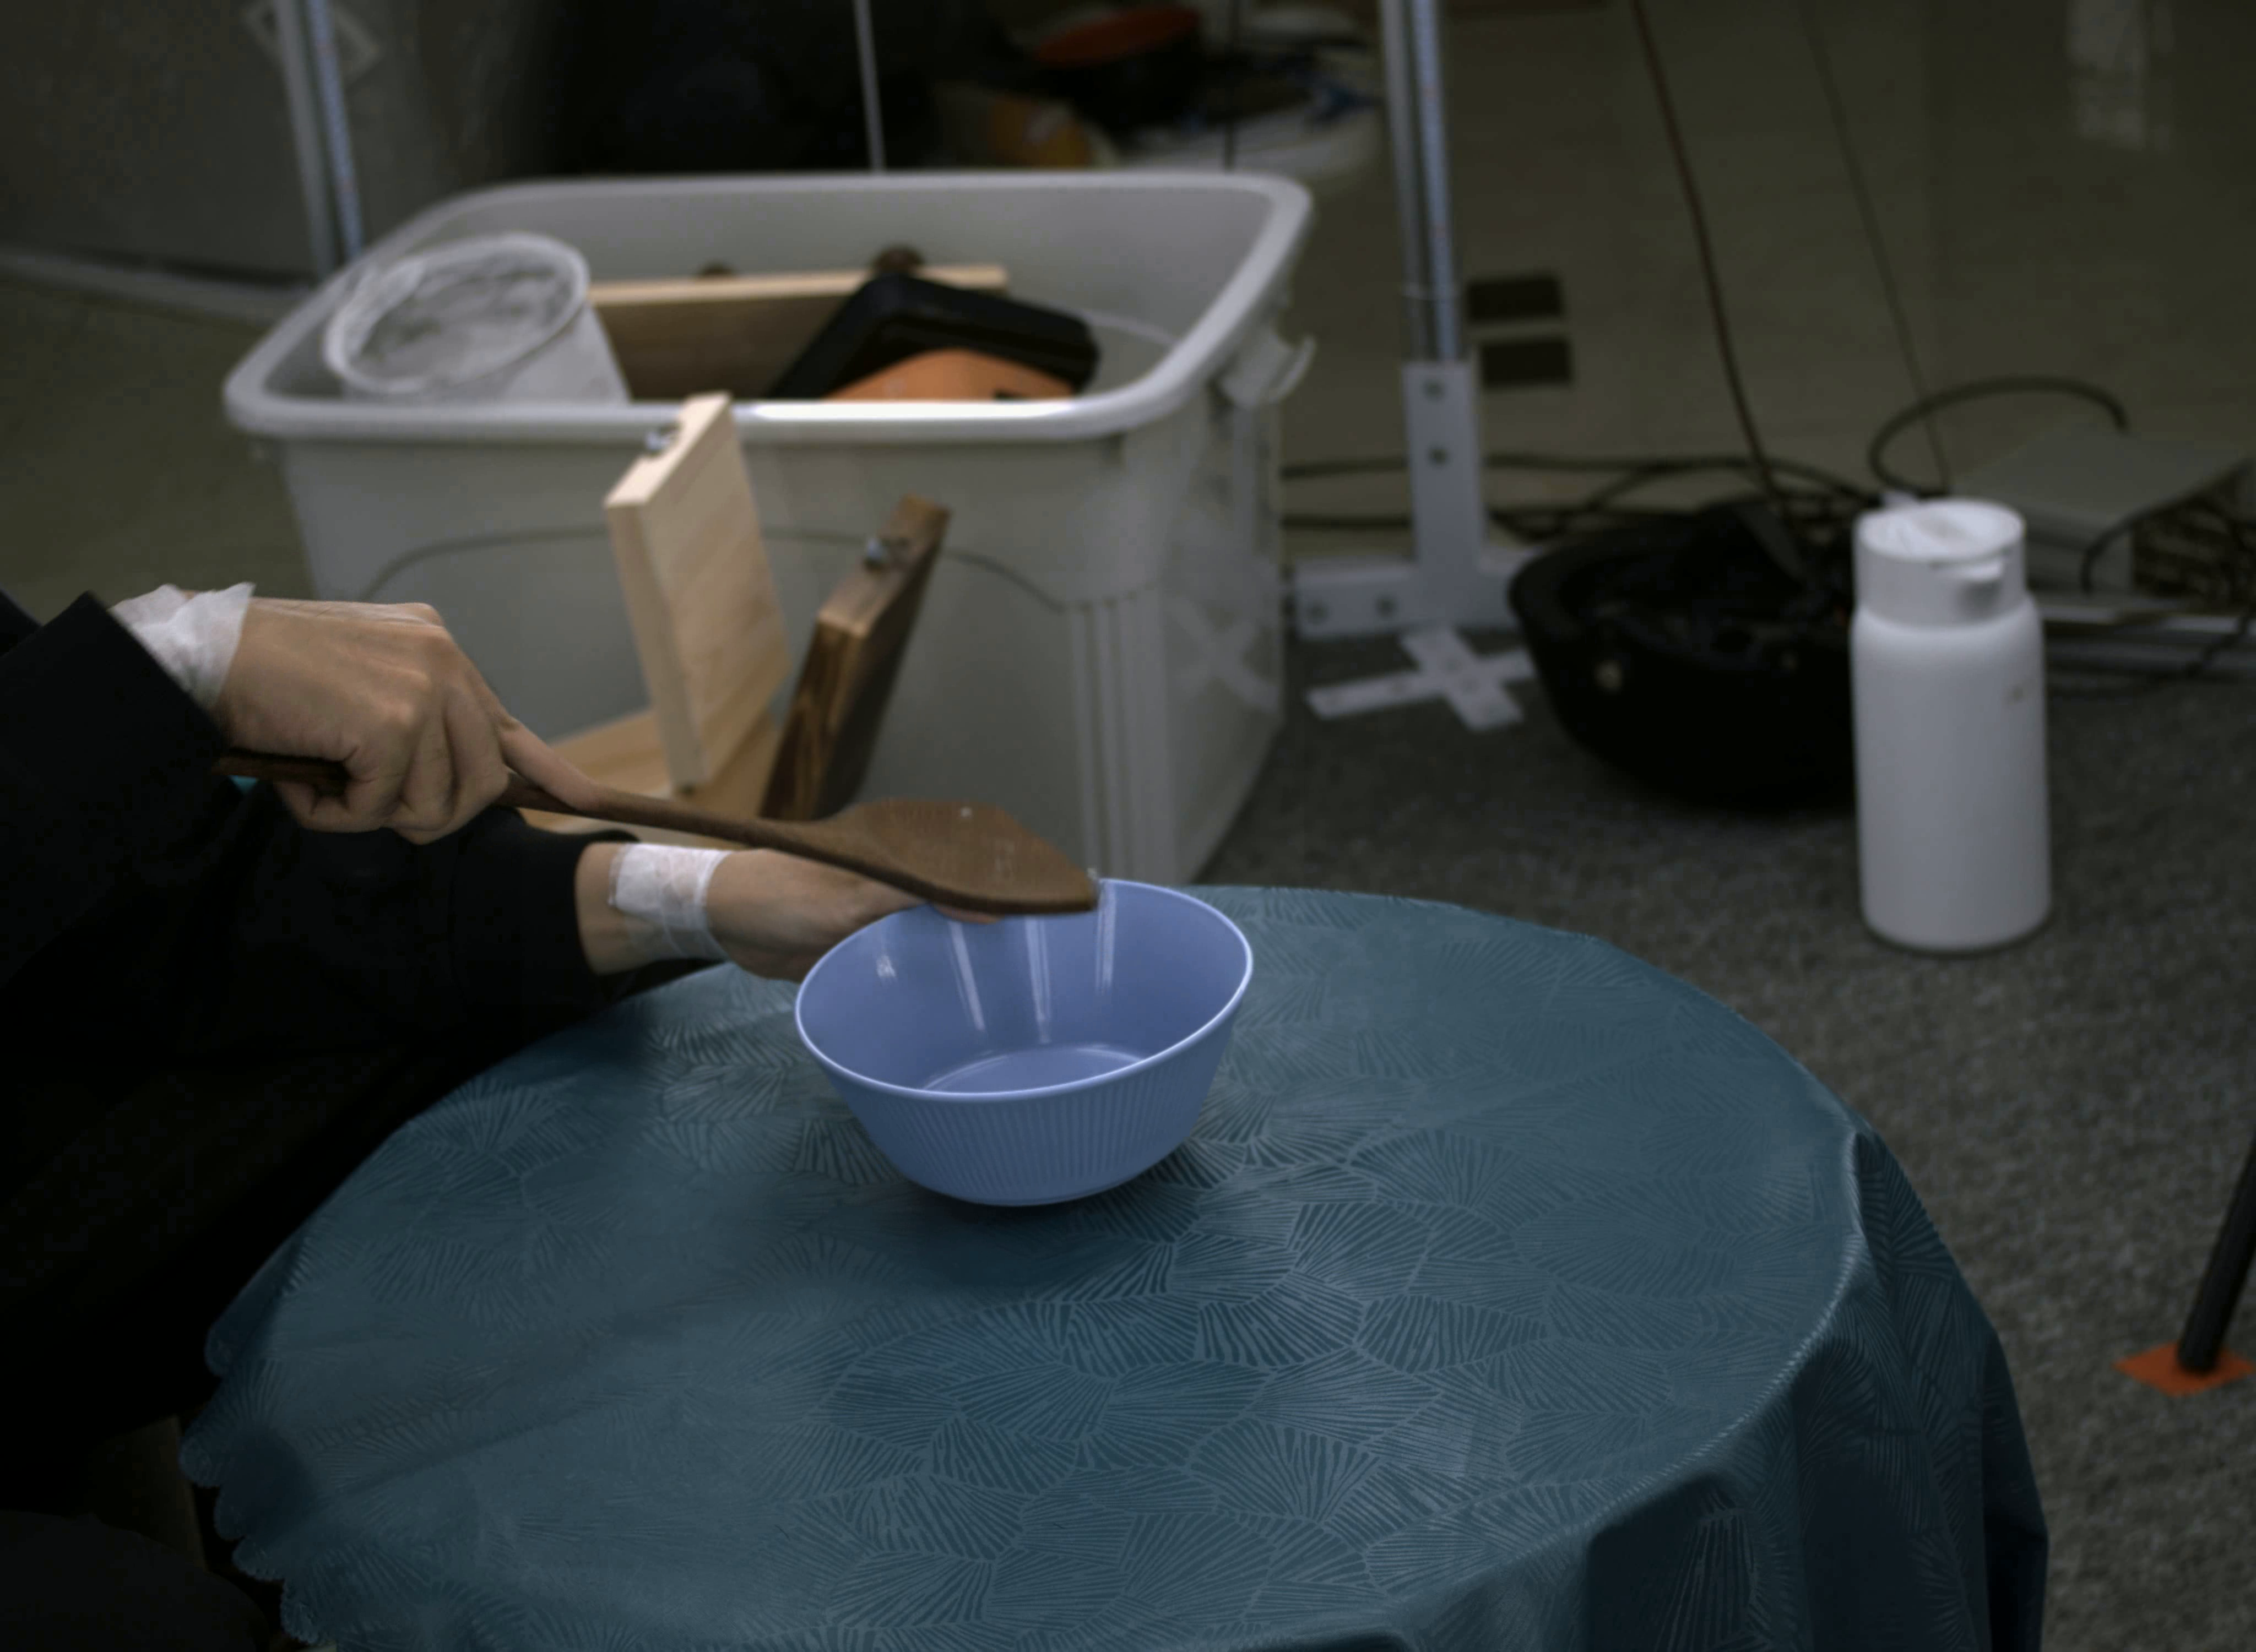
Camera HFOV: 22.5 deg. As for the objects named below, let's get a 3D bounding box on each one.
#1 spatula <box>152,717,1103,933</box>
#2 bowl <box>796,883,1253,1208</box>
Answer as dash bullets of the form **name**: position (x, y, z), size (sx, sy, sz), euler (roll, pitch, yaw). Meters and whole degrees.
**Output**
- **spatula**: position (-0.176, -0.004, 2.032), size (0.387, 0.016, 0.095), euler (11, 18, -37)
- **bowl**: position (-0.035, 0.090, 2.164), size (0.176, 0.071, 0.173), euler (-7, 25, 3)
